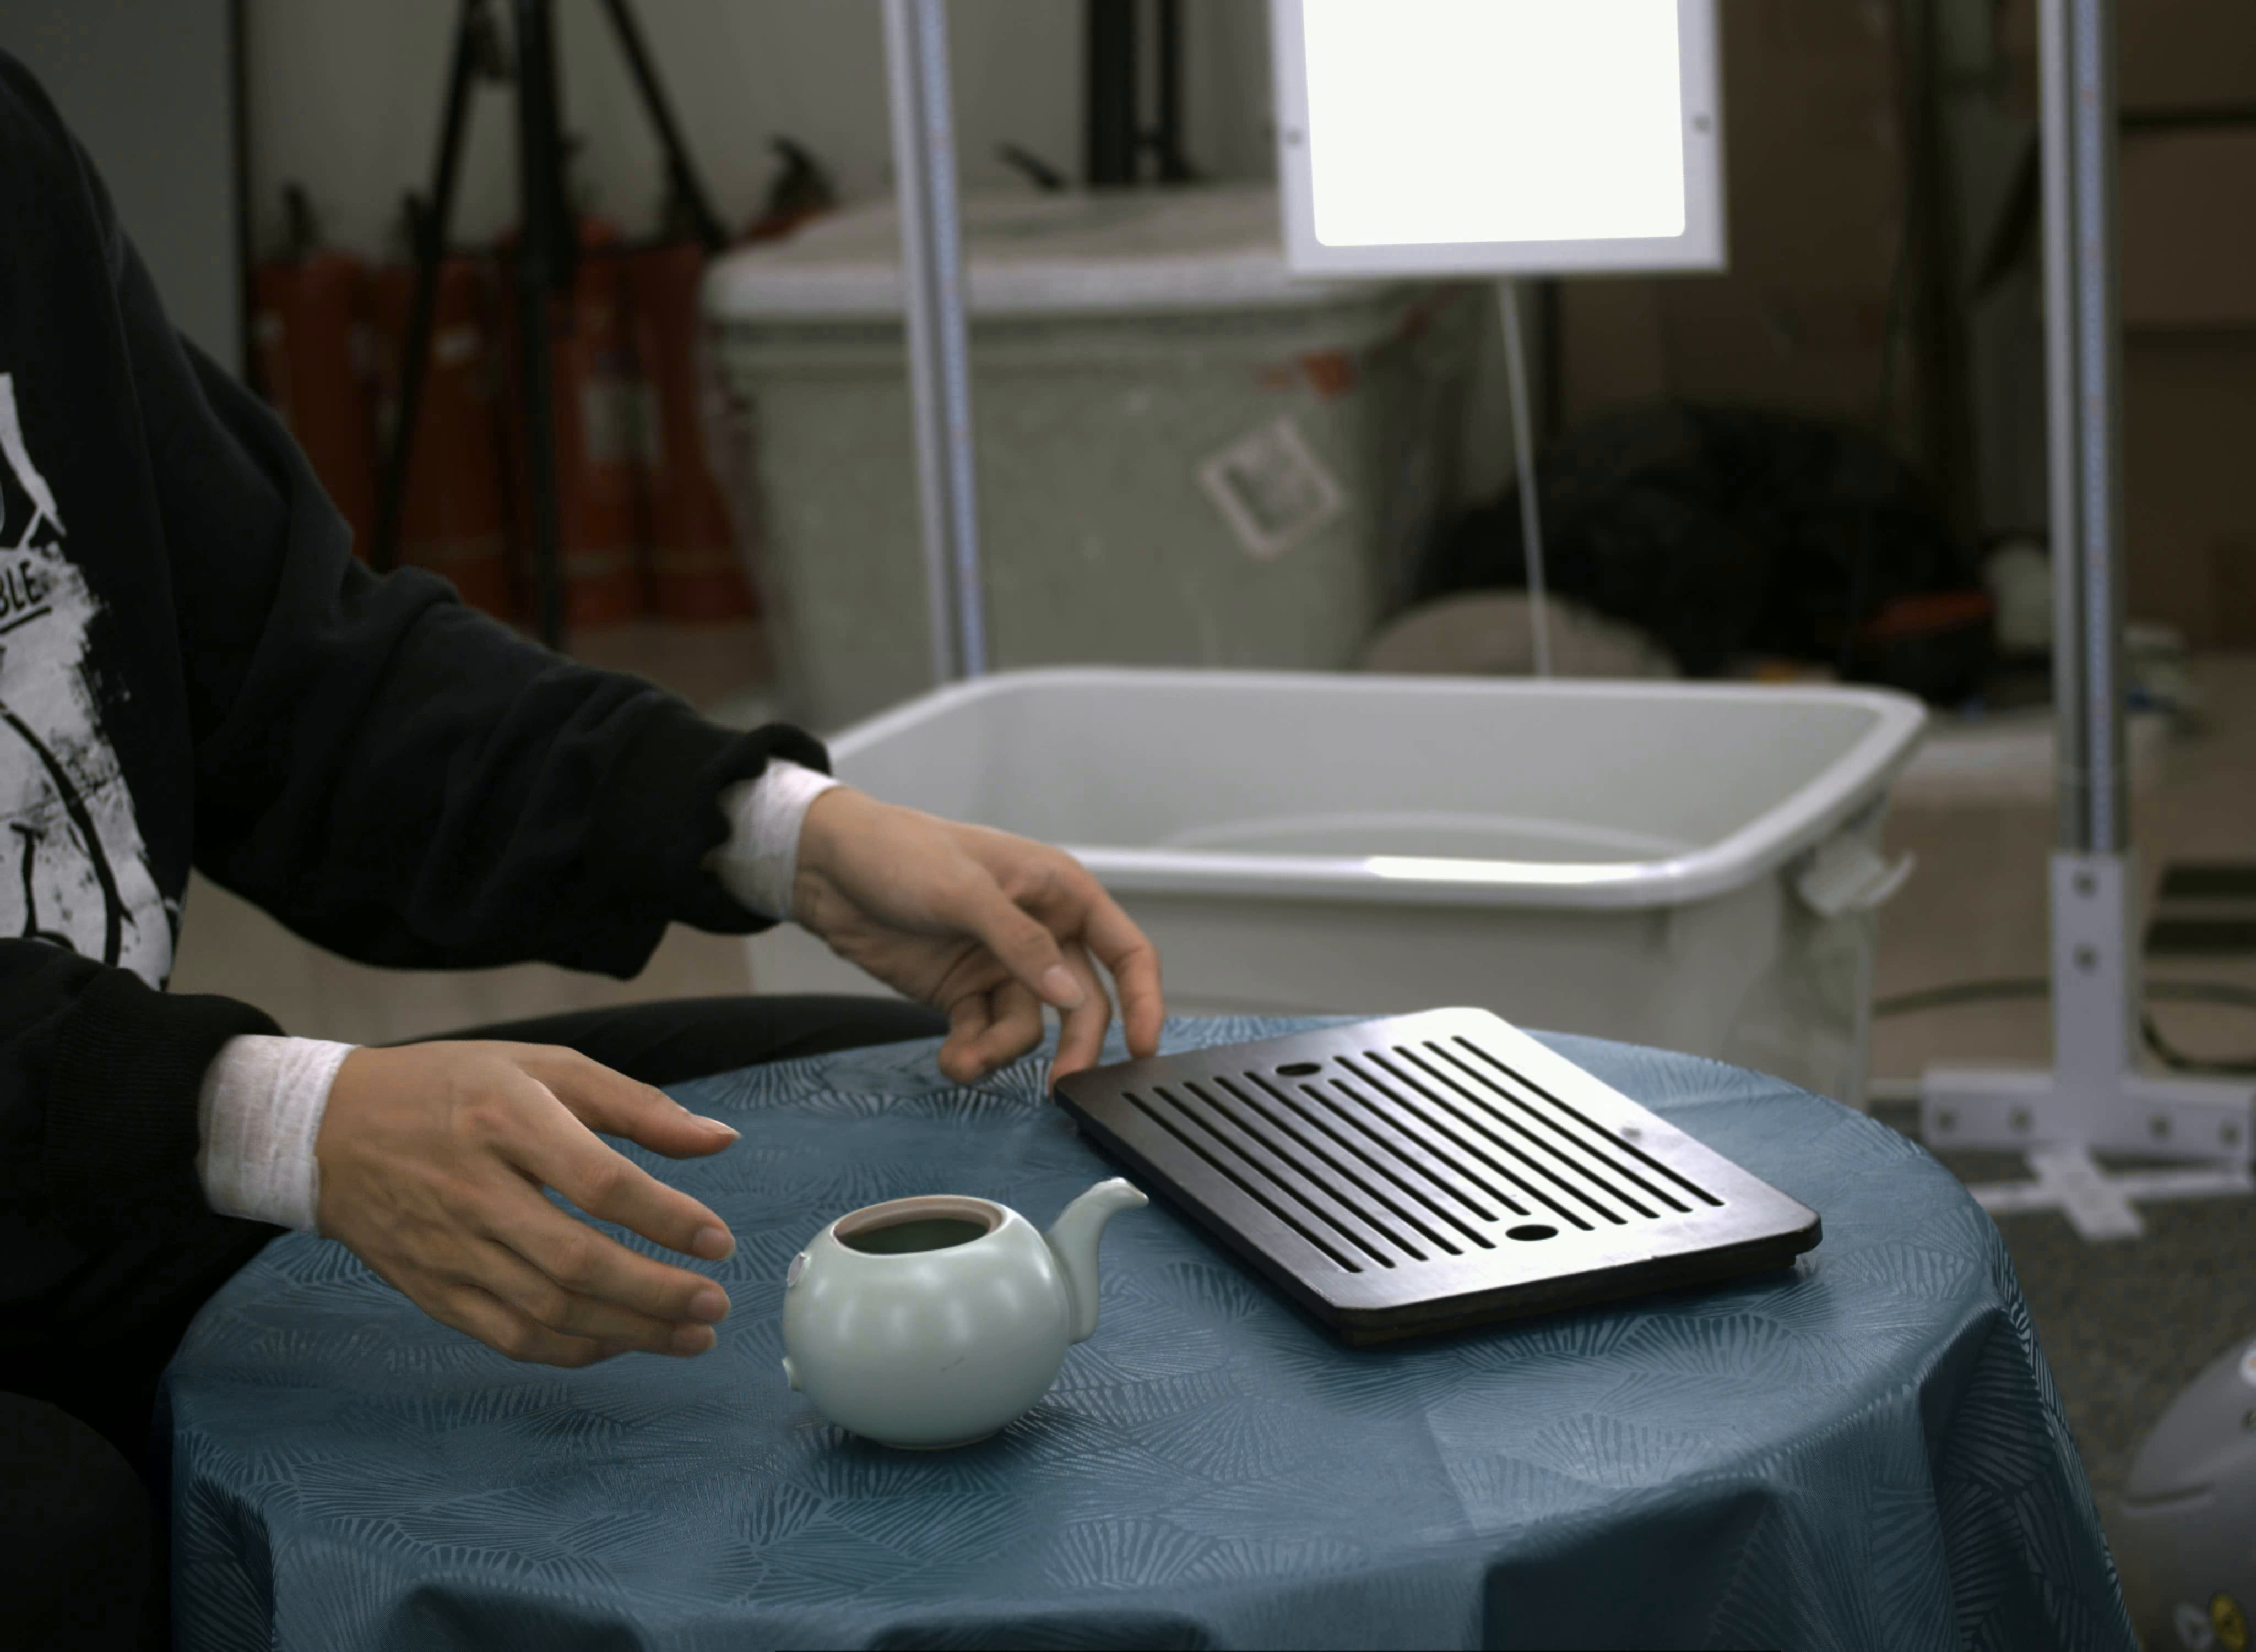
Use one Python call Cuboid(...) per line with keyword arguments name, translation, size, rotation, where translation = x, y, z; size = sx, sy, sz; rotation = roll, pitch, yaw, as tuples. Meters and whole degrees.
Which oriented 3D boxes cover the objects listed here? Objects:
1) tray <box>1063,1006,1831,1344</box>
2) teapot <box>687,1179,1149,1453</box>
Cuboid(name="tray", translation=(0.102, 0.115, 1.870), size=(0.167, 0.019, 0.309), rotation=(-10, 14, -16))
Cuboid(name="teapot", translation=(-0.062, 0.149, 1.677), size=(0.142, 0.075, 0.089), rotation=(-5, 14, -7))
